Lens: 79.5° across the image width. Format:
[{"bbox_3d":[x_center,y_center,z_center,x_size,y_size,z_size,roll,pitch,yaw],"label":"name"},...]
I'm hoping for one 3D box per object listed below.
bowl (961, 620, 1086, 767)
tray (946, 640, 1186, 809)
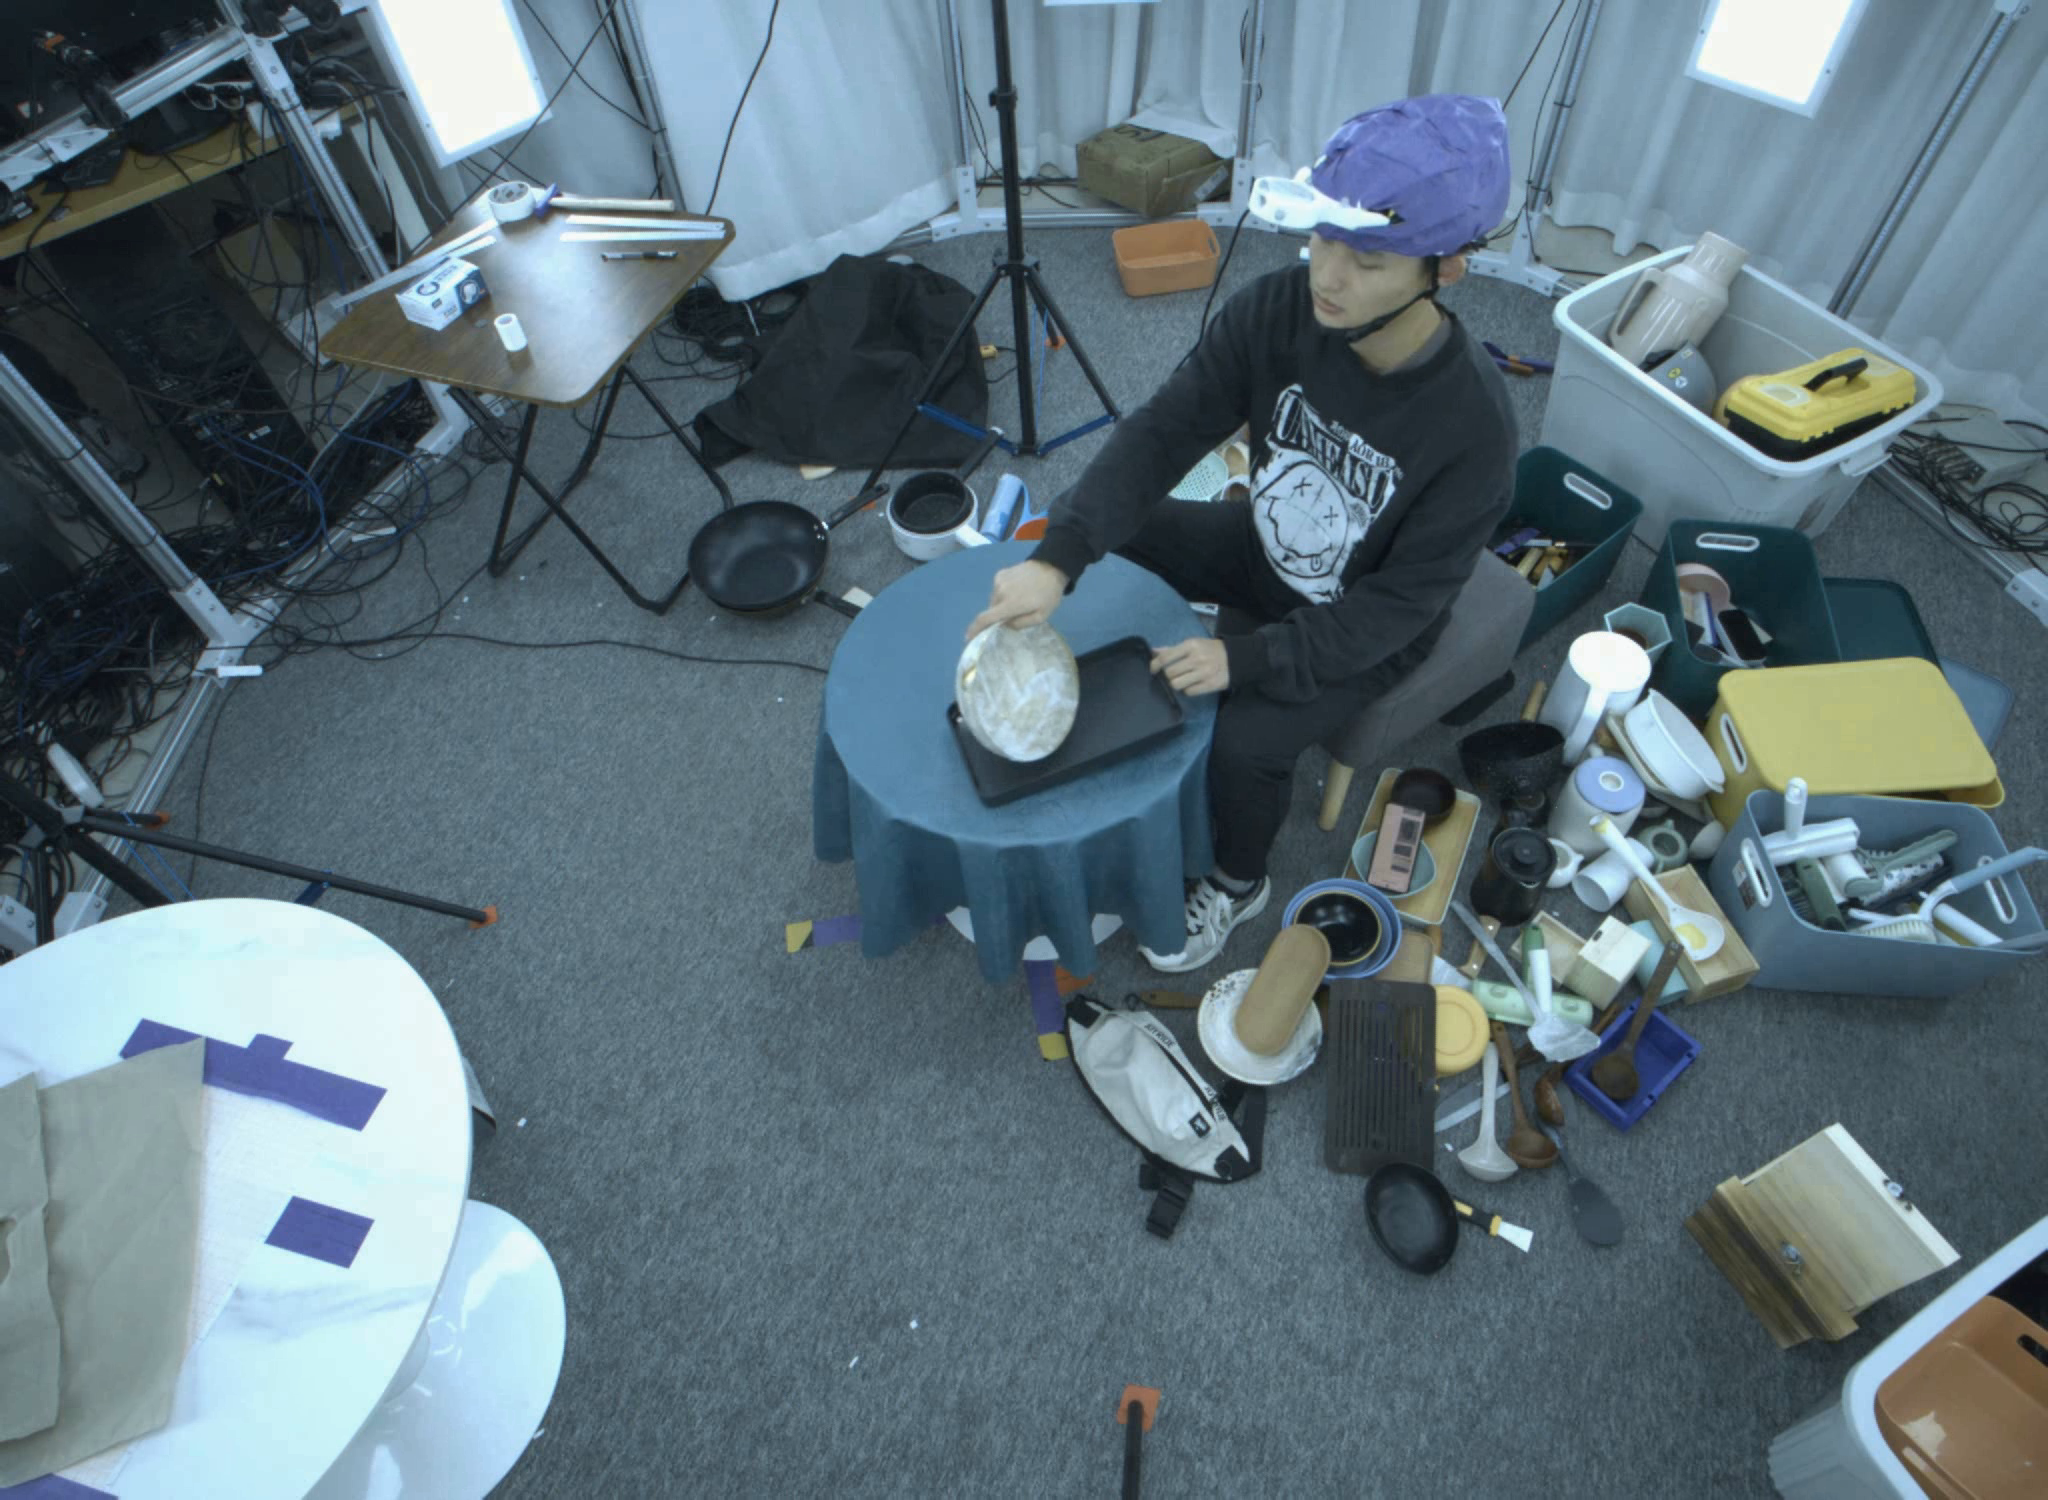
[{"bbox_3d":[-0.013,-0.080,1.718,0.092,0.219,0.215,2,47,47],"label":"bowl"},{"bbox_3d":[0.060,-0.040,1.781,0.319,0.037,0.181,-20,55,-5],"label":"tray"}]
